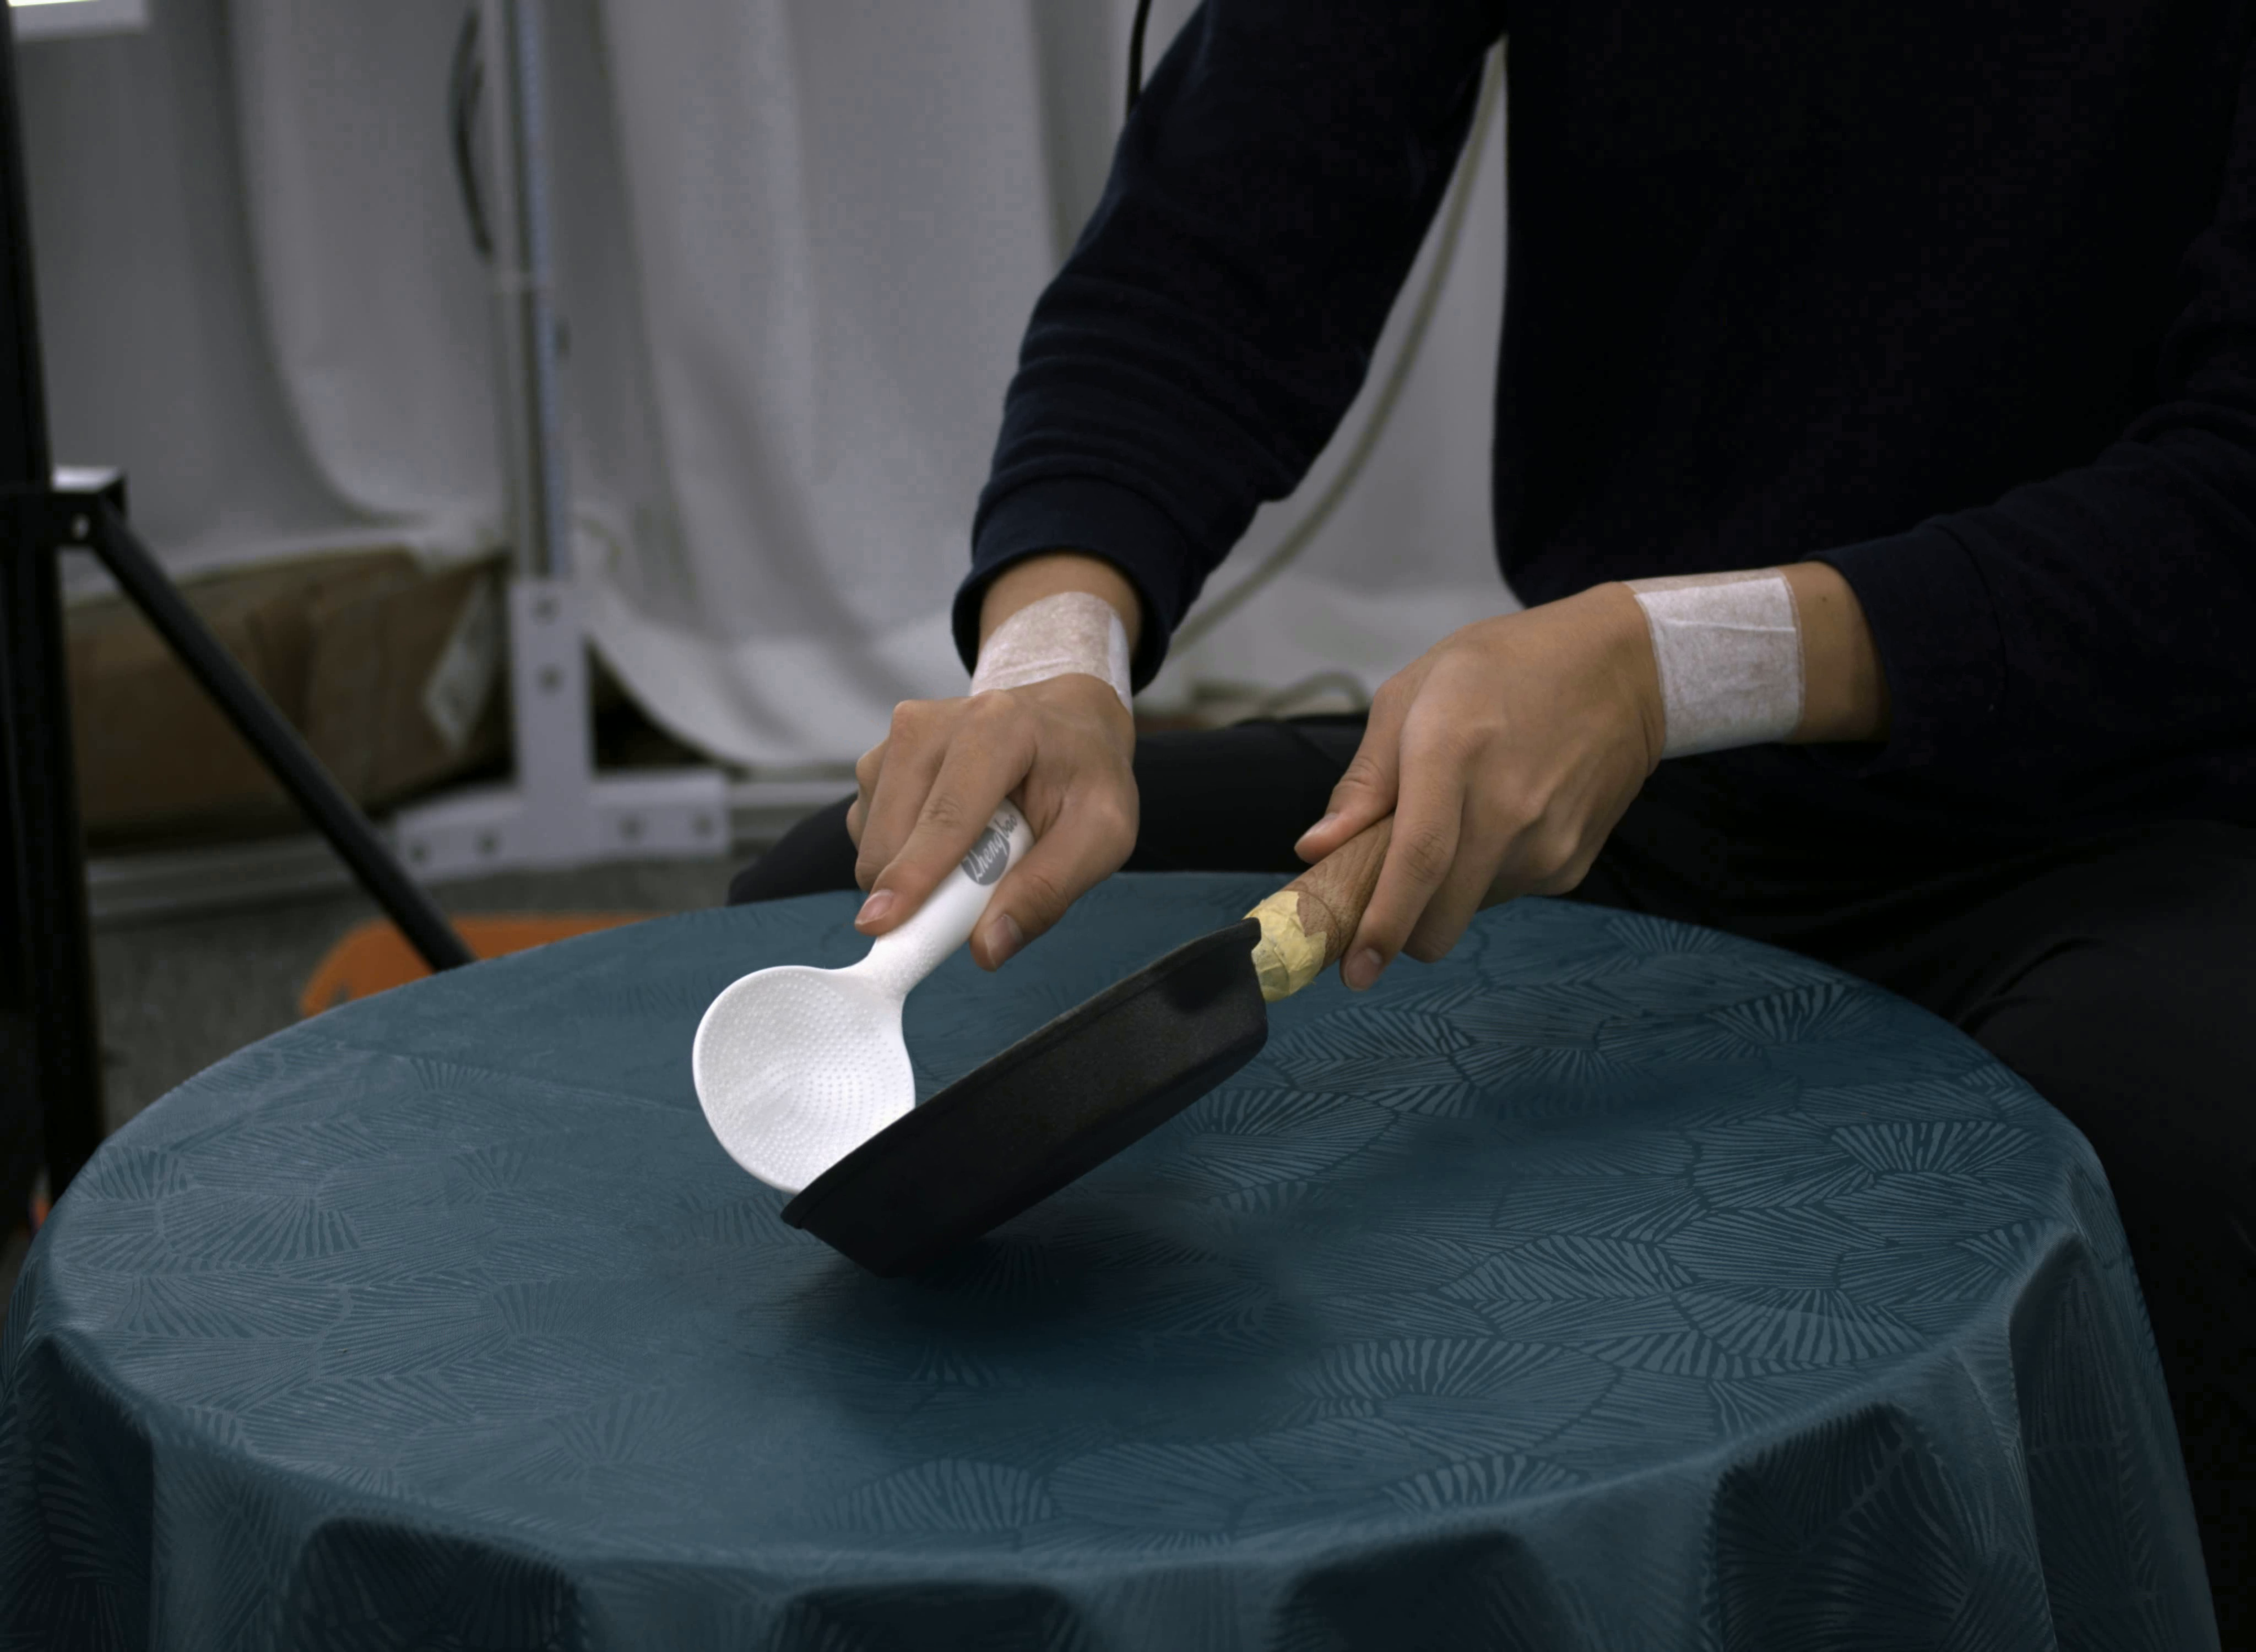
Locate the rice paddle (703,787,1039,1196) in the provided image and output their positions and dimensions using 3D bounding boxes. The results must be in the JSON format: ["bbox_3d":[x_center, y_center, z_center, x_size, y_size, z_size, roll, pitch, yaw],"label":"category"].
[{"bbox_3d":[-0.070,0.046,1.533,0.068,0.030,0.204,41,32,-4],"label":"rice paddle"}]

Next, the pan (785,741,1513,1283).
[{"bbox_3d":[0.028,0.047,1.537,0.318,0.050,0.171,-28,-7,-44],"label":"pan"}]
